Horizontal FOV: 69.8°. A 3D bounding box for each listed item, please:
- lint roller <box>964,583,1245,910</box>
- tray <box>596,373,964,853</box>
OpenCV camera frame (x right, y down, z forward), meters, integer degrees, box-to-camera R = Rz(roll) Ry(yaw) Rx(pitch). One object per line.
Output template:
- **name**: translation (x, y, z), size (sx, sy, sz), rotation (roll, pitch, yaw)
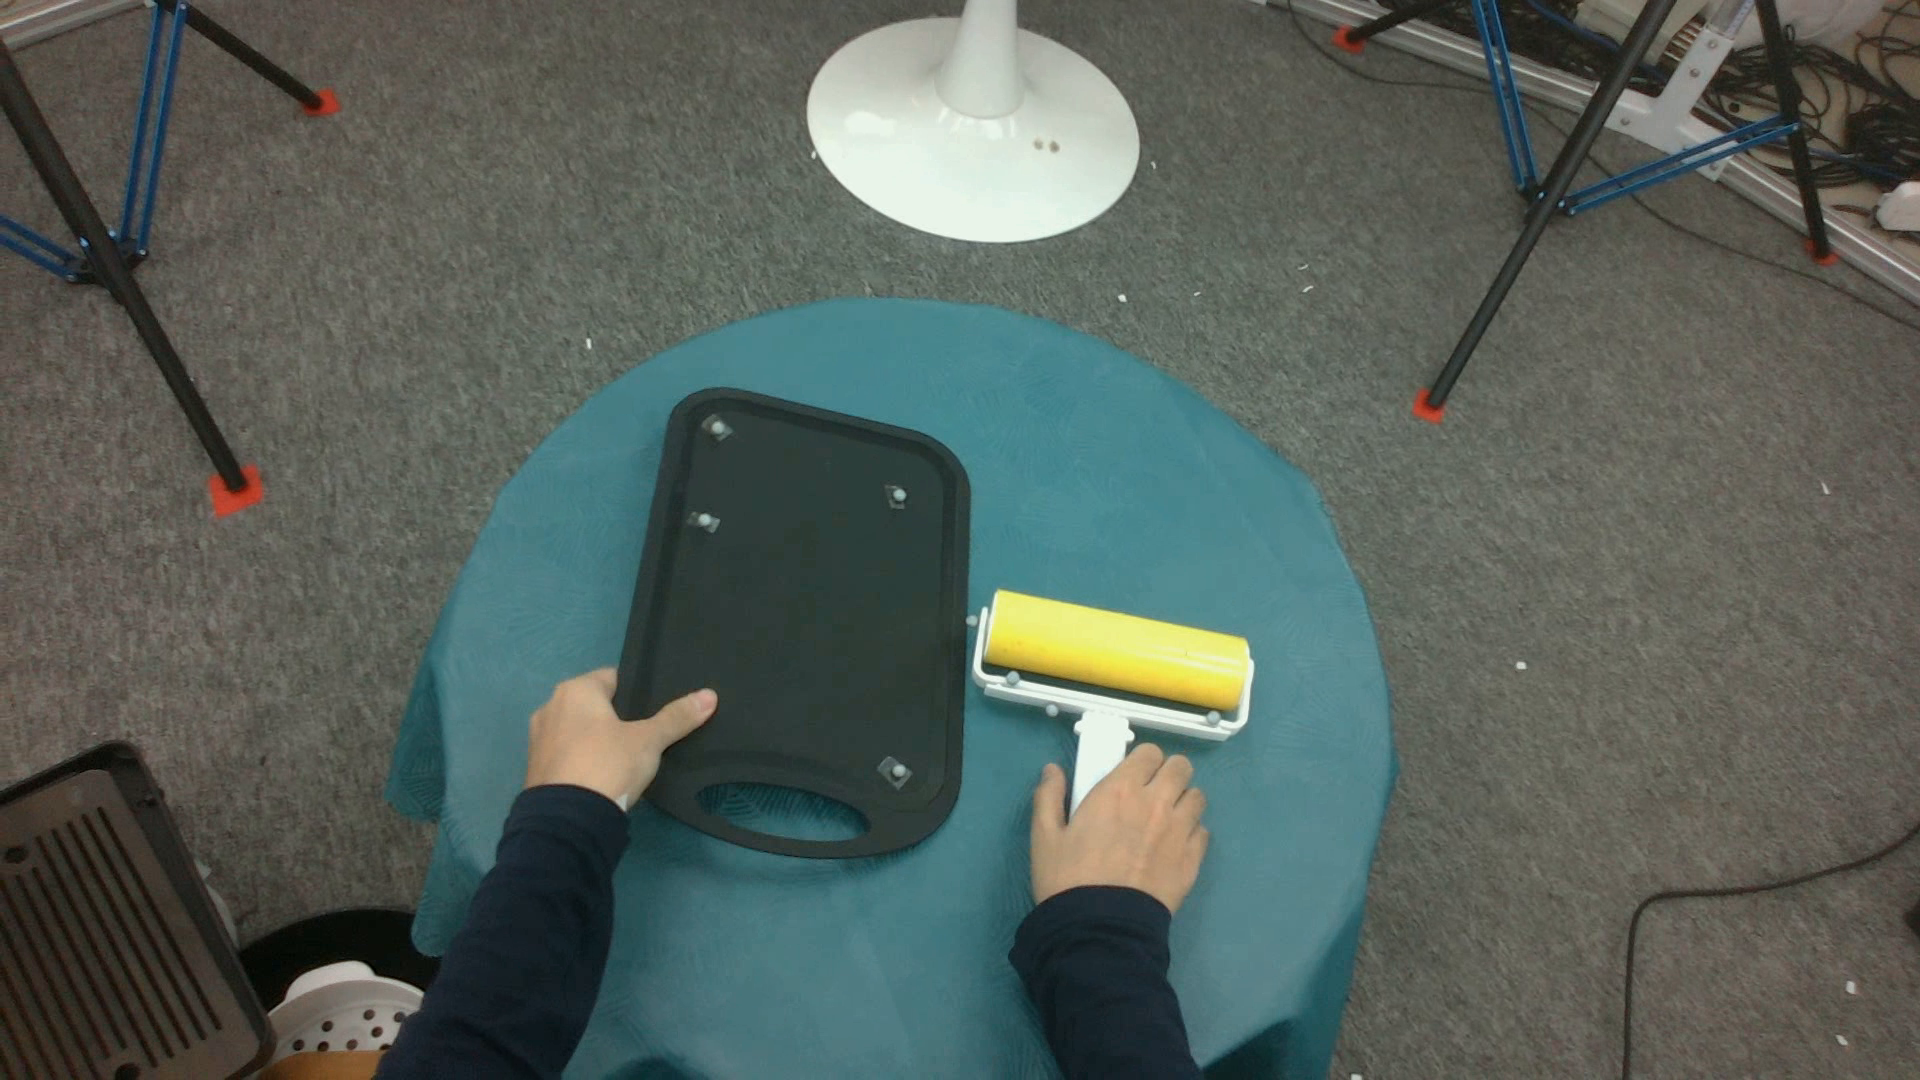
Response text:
- **lint roller**: translation (0.082, 0.121, 0.822), size (0.174, 0.051, 0.193), rotation (10, 52, -1)
- **tray**: translation (-0.099, 0.035, 0.850), size (0.211, 0.010, 0.327), rotation (14, 53, -15)
